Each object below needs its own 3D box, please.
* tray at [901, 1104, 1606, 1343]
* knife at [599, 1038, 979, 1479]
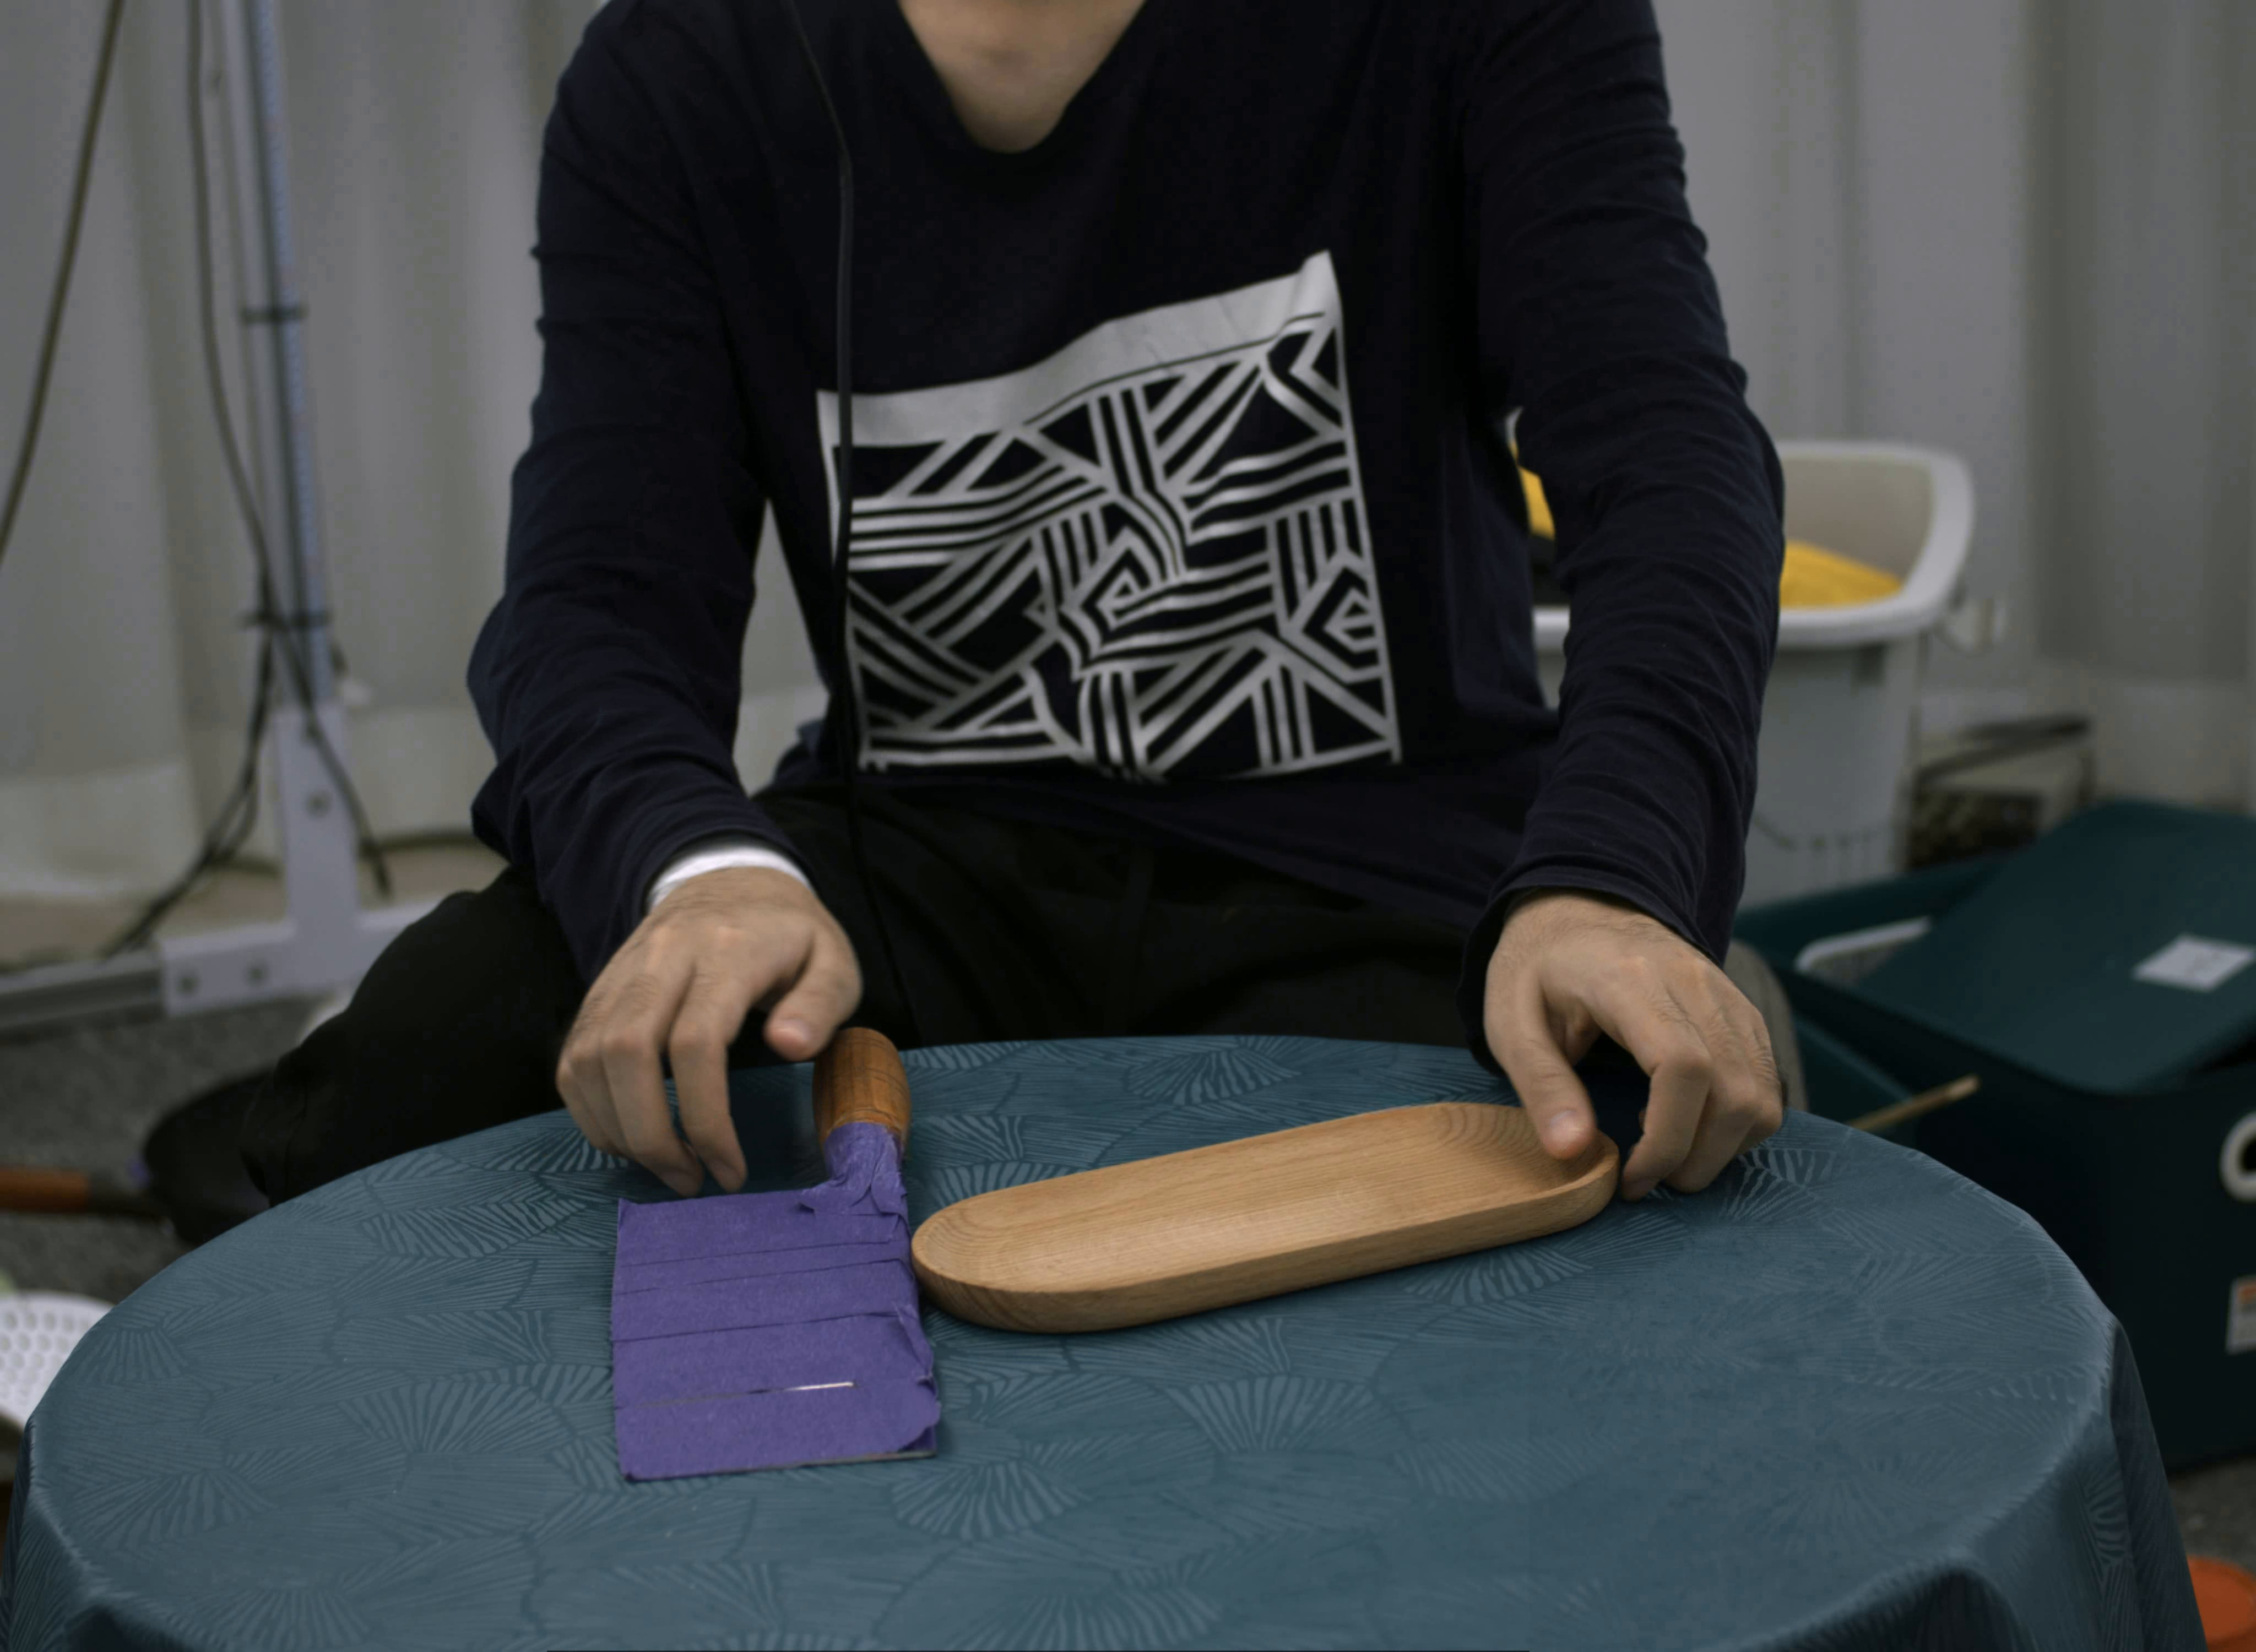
[{"bbox_3d":[0.040,0.120,1.660,0.230,0.020,0.102,-12,17,-26],"label":"tray"},{"bbox_3d":[-0.107,0.126,1.644,0.103,0.032,0.317,-4,15,-5],"label":"knife"}]
